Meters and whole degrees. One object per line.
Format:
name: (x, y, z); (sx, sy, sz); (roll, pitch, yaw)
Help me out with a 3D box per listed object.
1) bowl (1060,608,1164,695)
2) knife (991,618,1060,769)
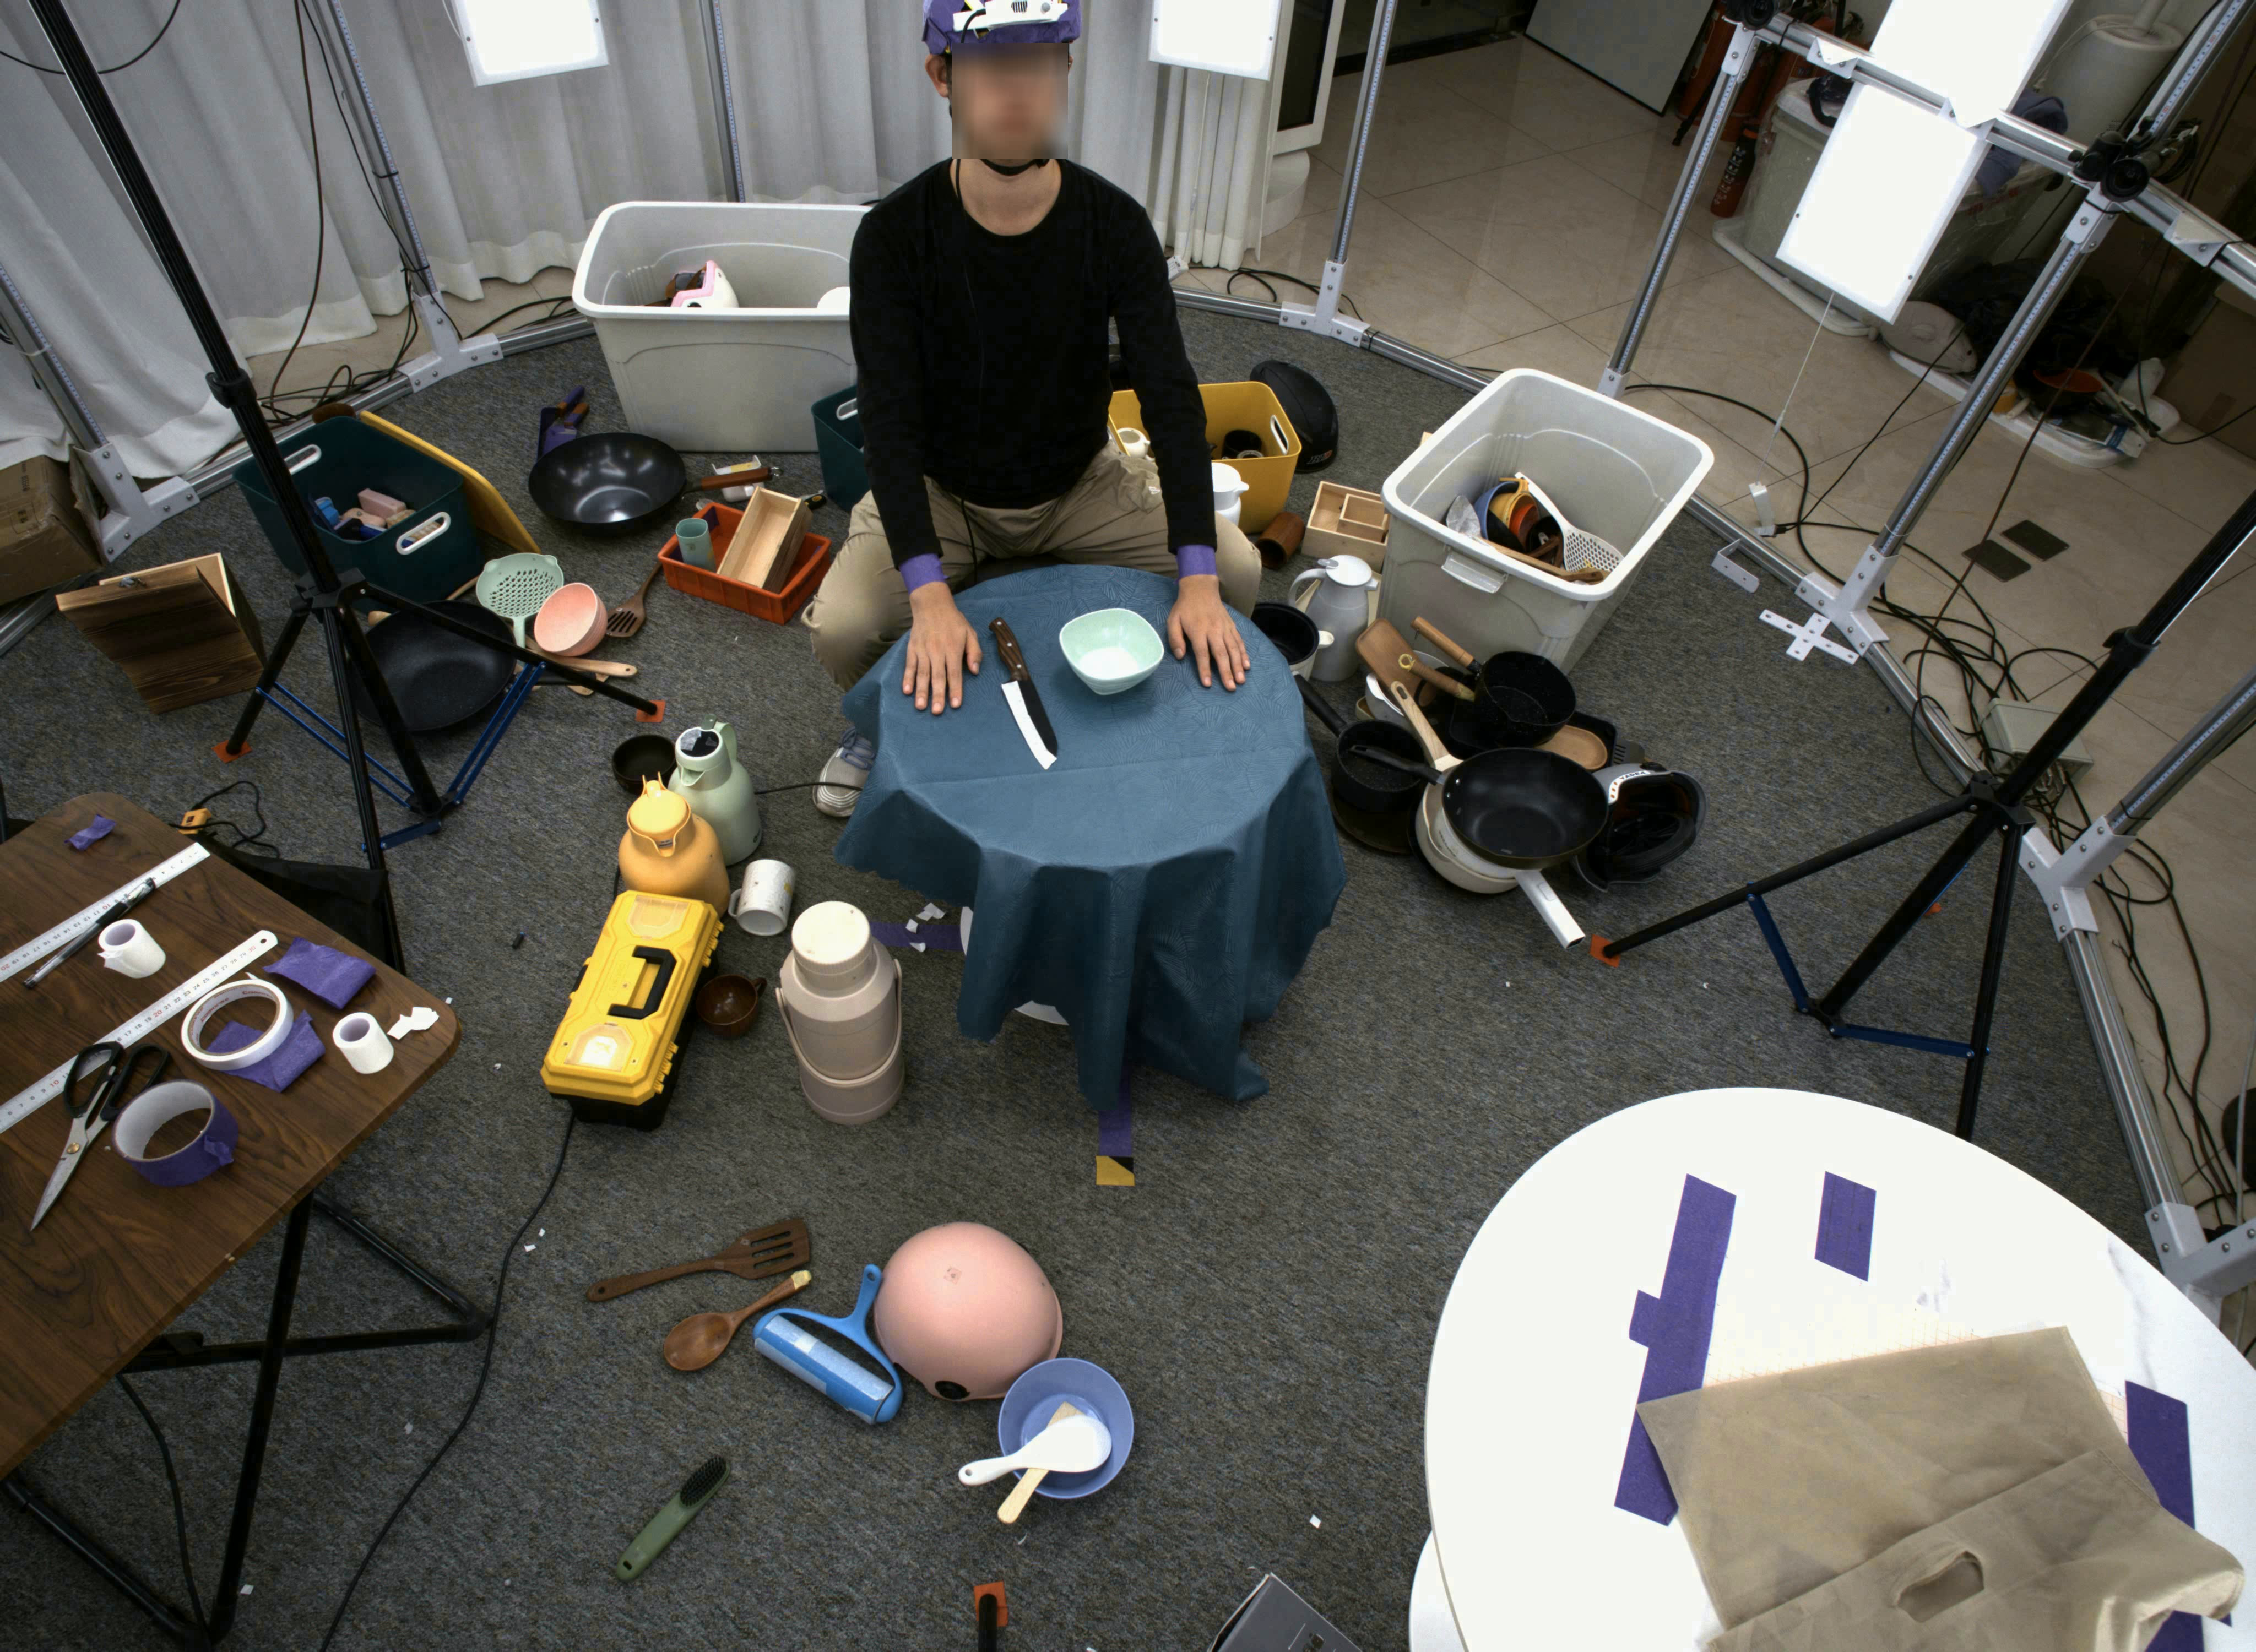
bowl: (-0.024, -0.242, 1.842); (0.151, 0.057, 0.155); (2, 51, -3)
knife: (-0.148, -0.190, 1.815); (0.050, 0.019, 0.296); (-14, 54, -9)
